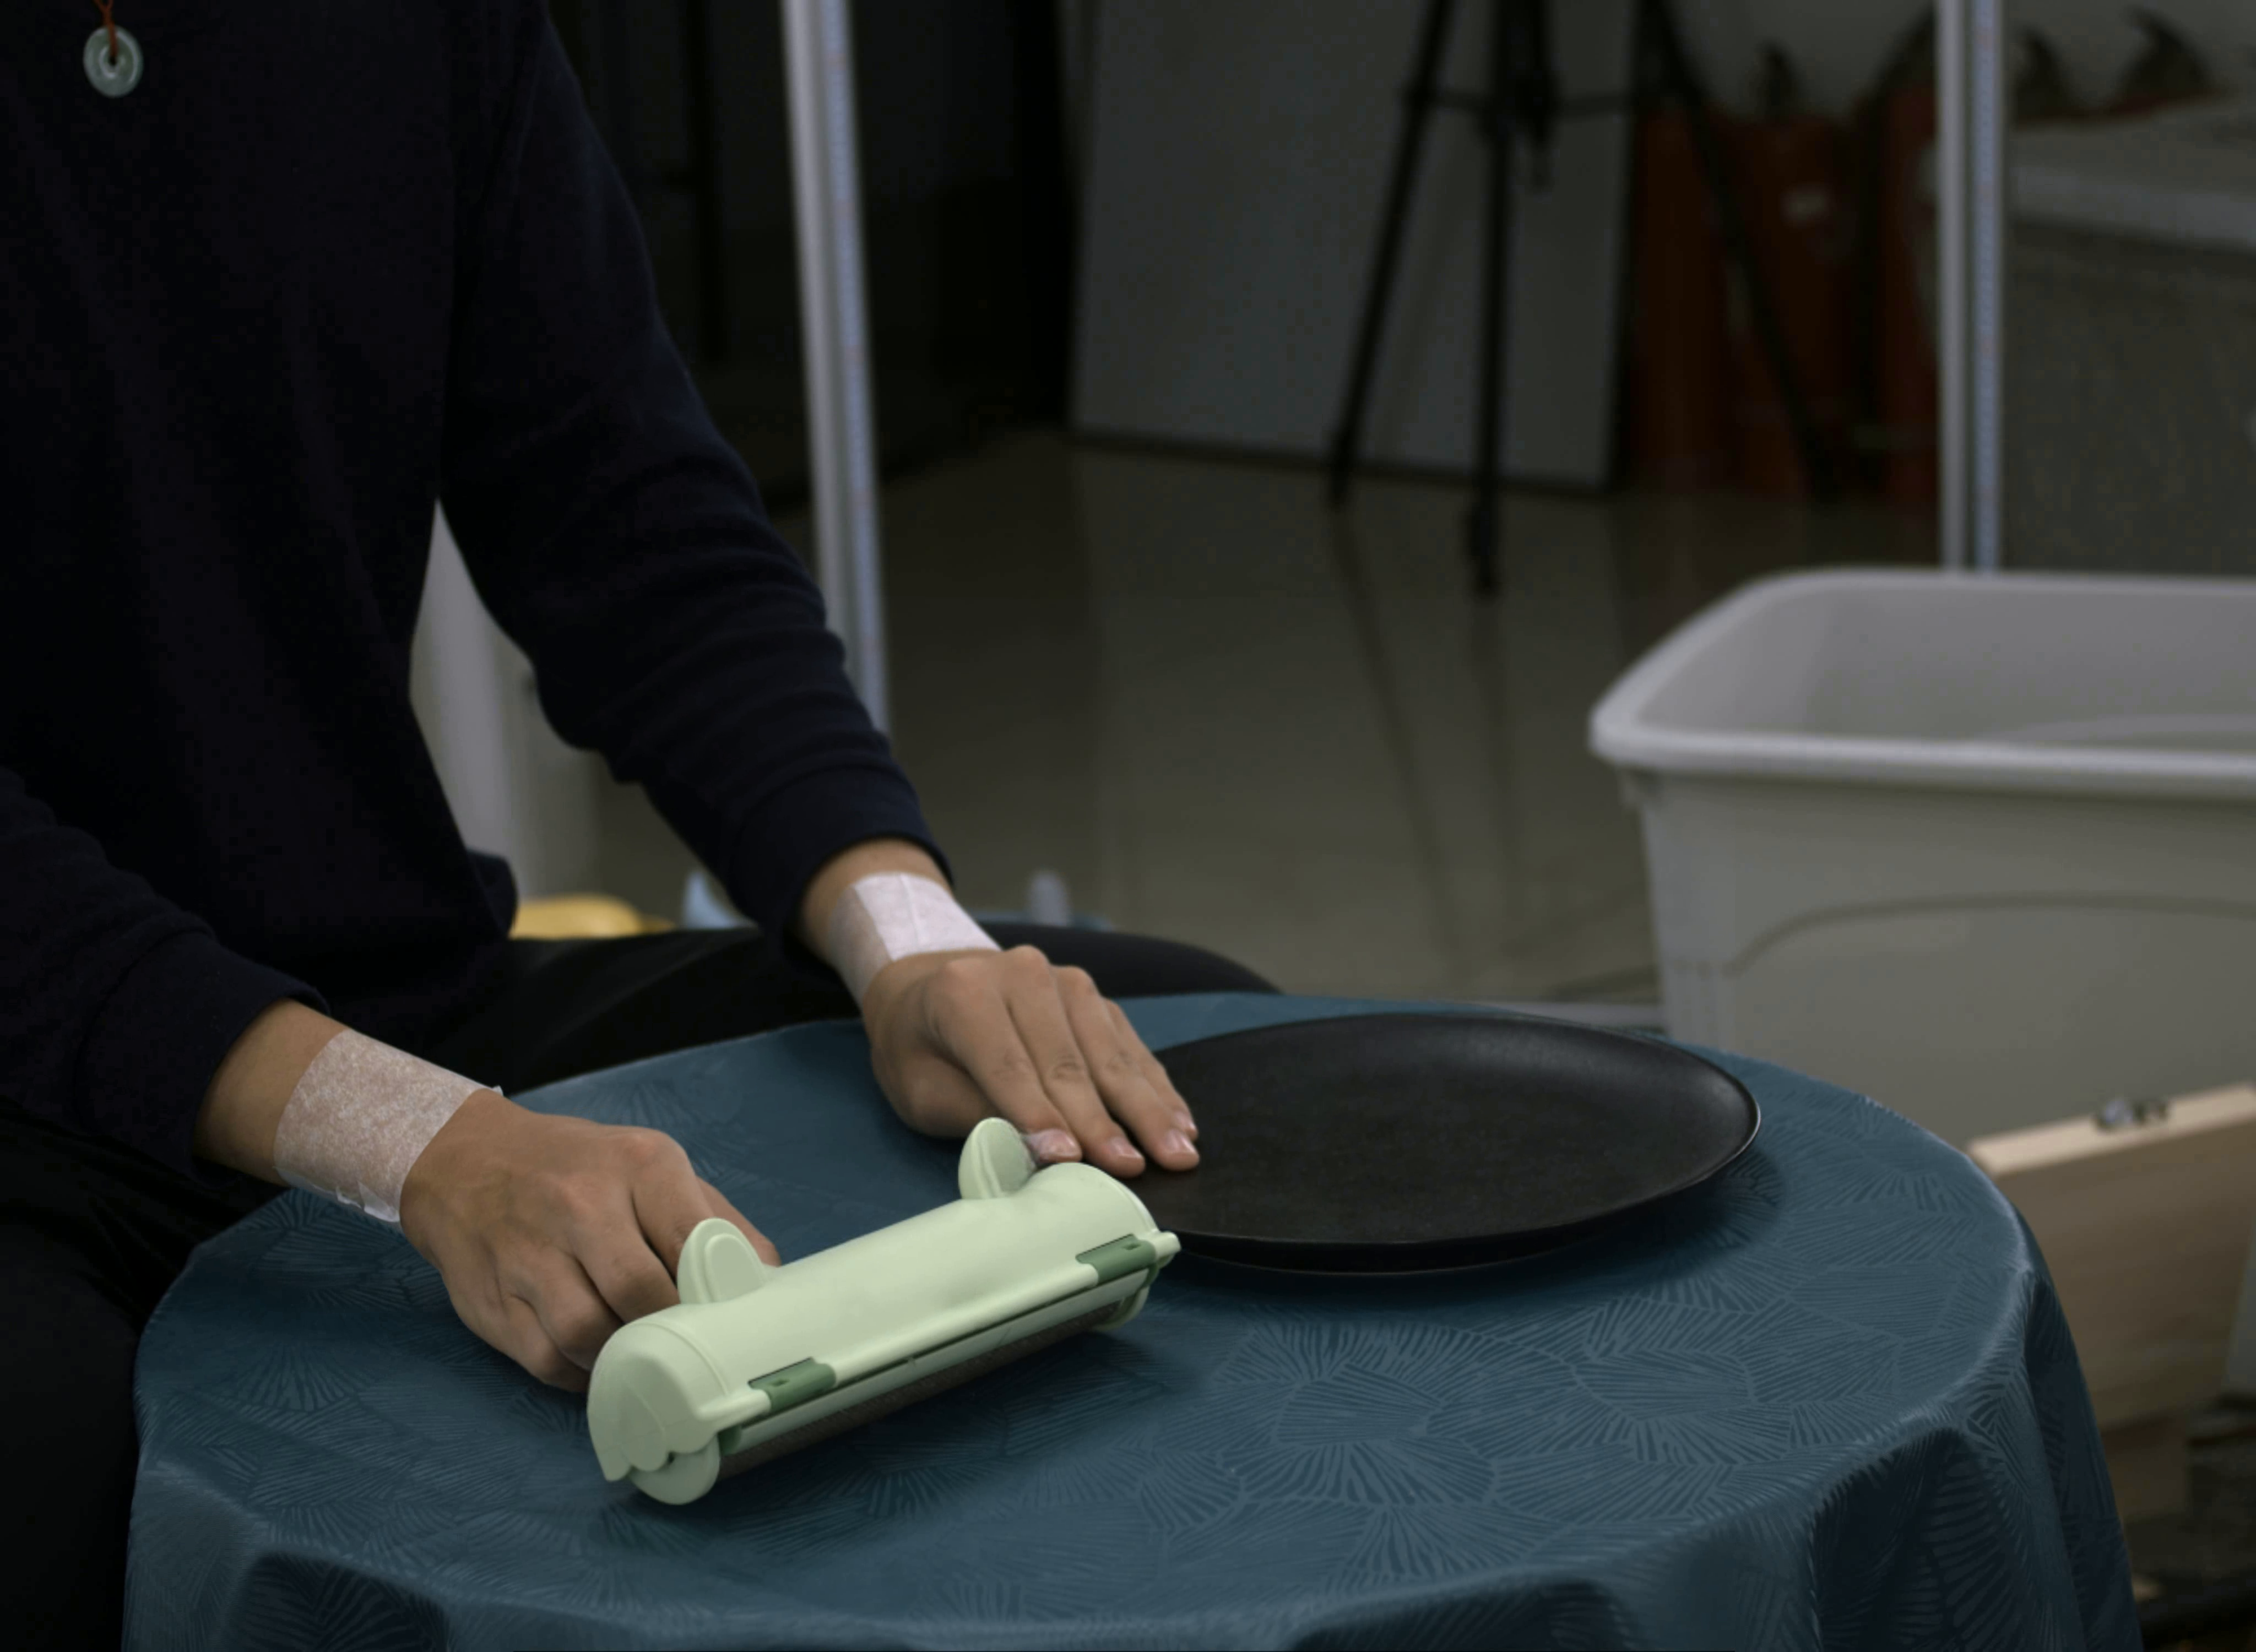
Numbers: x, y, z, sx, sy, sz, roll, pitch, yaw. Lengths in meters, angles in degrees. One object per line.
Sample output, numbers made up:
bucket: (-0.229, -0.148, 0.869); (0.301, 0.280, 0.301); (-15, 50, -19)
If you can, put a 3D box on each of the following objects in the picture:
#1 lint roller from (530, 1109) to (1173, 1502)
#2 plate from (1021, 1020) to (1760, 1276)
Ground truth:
lint roller: (-0.113, 0.126, 1.604); (0.185, 0.083, 0.194); (17, 23, 40)
plate: (0.086, 0.107, 1.754); (0.241, 0.024, 0.245); (-4, 14, 0)
